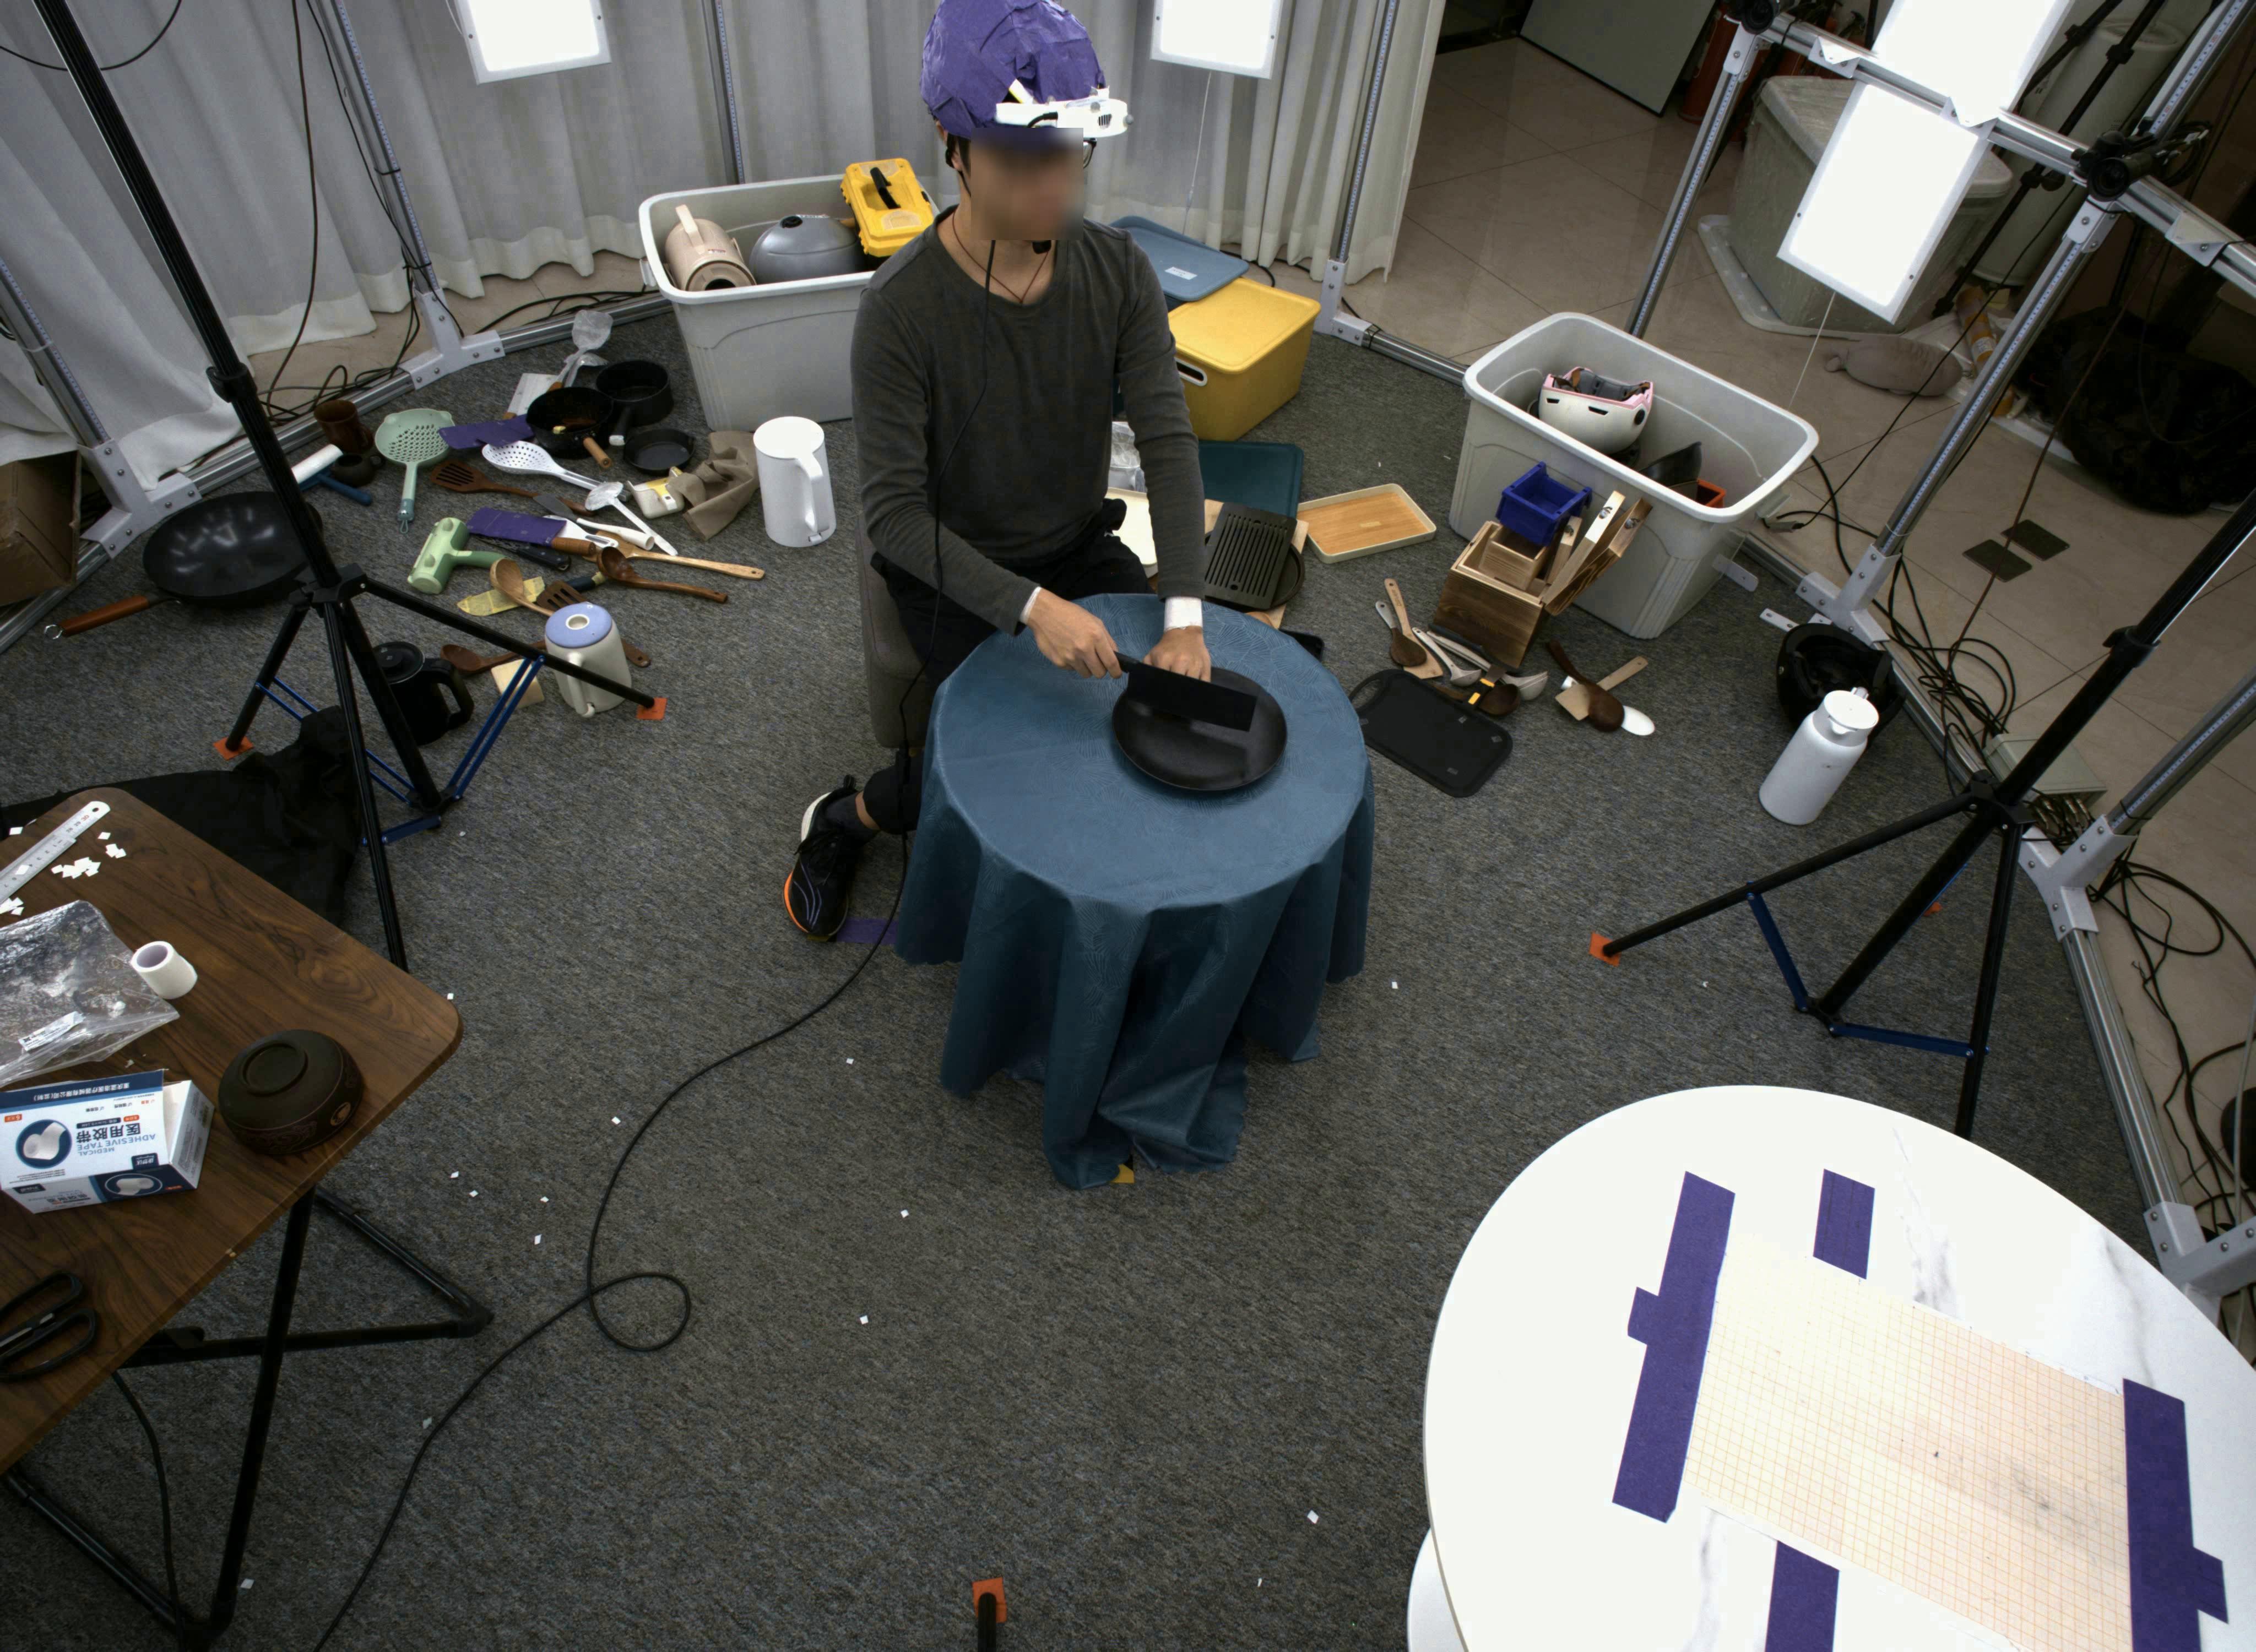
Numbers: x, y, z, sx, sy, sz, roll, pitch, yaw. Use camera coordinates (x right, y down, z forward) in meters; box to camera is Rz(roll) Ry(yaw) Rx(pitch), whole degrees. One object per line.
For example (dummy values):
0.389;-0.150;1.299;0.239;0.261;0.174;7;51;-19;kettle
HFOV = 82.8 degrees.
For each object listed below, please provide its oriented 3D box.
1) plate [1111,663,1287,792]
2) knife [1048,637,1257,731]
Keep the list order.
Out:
0.098;-0.134;1.775;0.244;0.023;0.250;2;49;-2;plate
0.031;-0.198;1.765;0.303;0.079;0.021;21;40;9;knife
